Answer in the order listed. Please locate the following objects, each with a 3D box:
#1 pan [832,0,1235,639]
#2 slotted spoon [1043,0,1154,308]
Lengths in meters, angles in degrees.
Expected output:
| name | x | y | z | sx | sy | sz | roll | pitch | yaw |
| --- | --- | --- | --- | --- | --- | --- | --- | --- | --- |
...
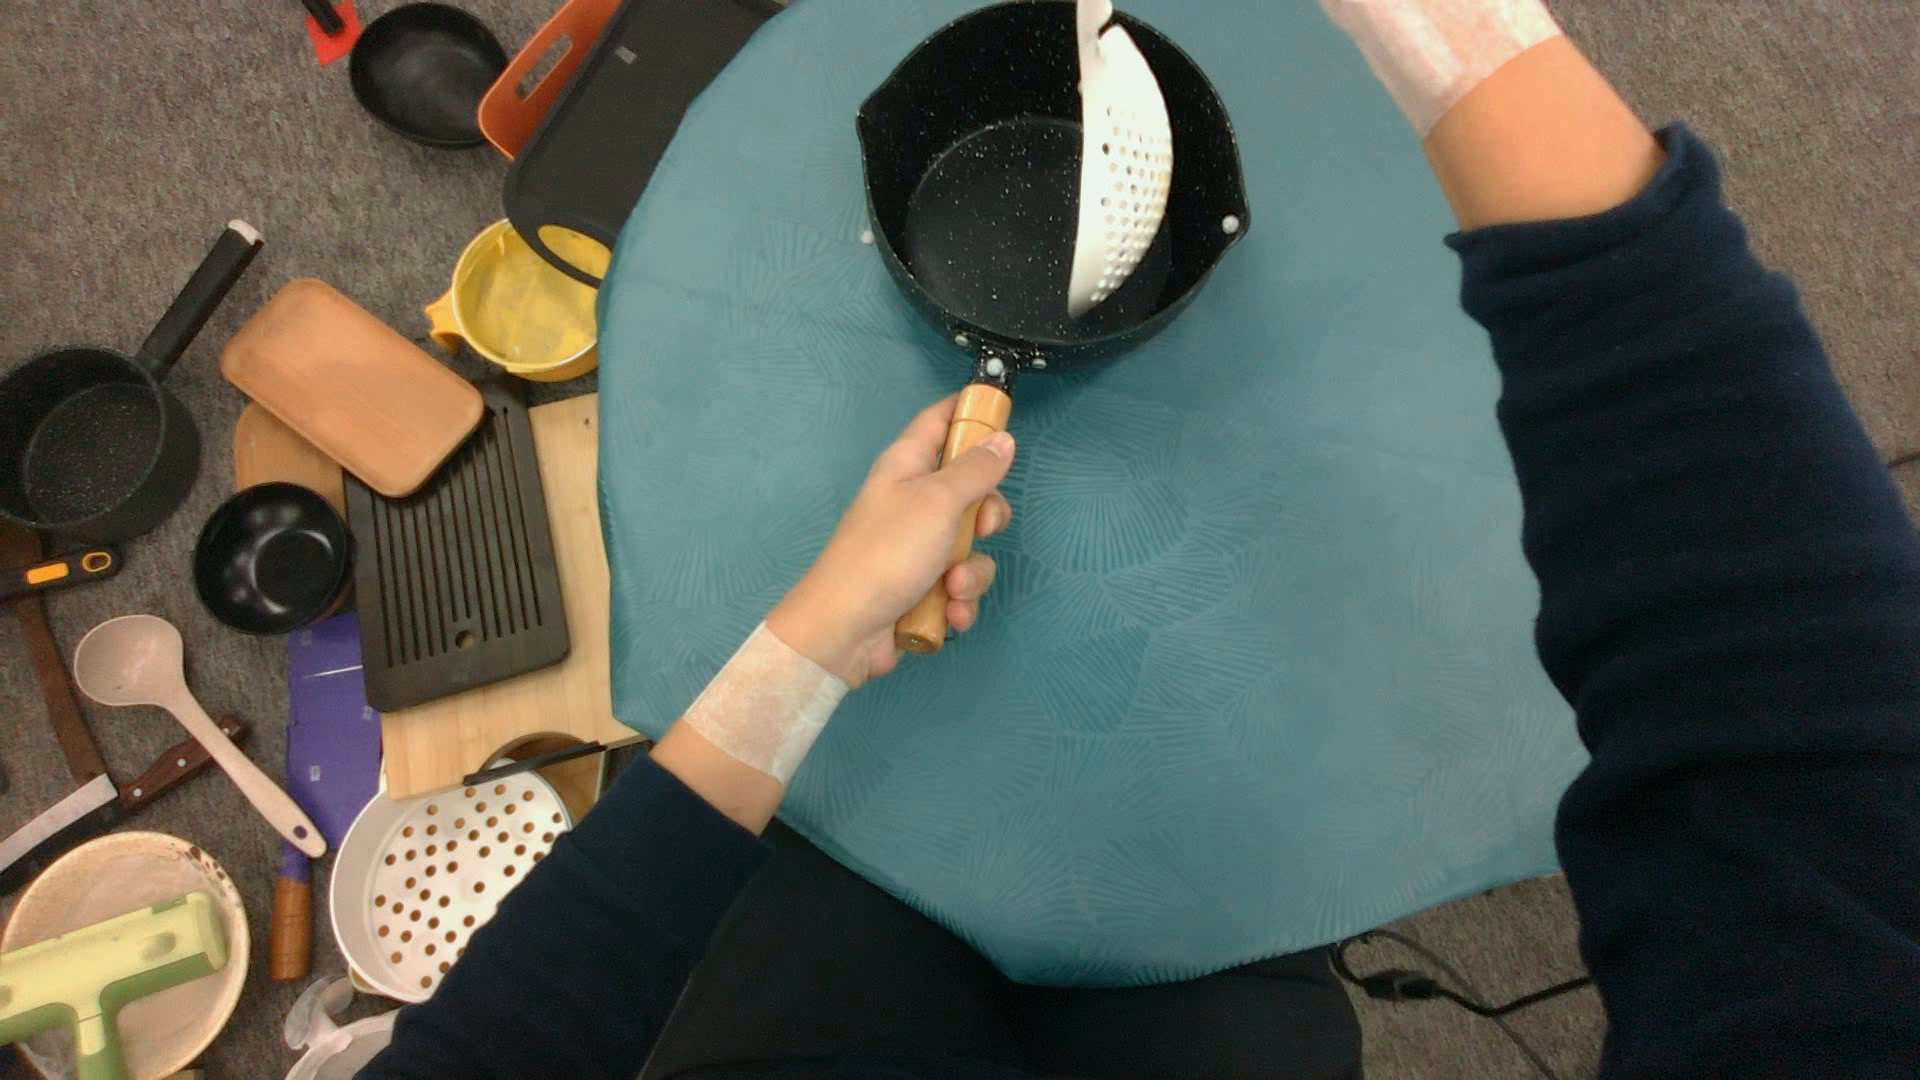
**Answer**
| name | x | y | z | sx | sy | sz | roll | pitch | yaw |
| --- | --- | --- | --- | --- | --- | --- | --- | --- | --- |
| pan | 0.017 | -0.106 | 0.683 | 0.207 | 0.108 | 0.343 | 15 | 75 | 0 |
| slotted spoon | 0.057 | -0.199 | 0.573 | 0.050 | 0.347 | 0.137 | 9 | 82 | 10 |
